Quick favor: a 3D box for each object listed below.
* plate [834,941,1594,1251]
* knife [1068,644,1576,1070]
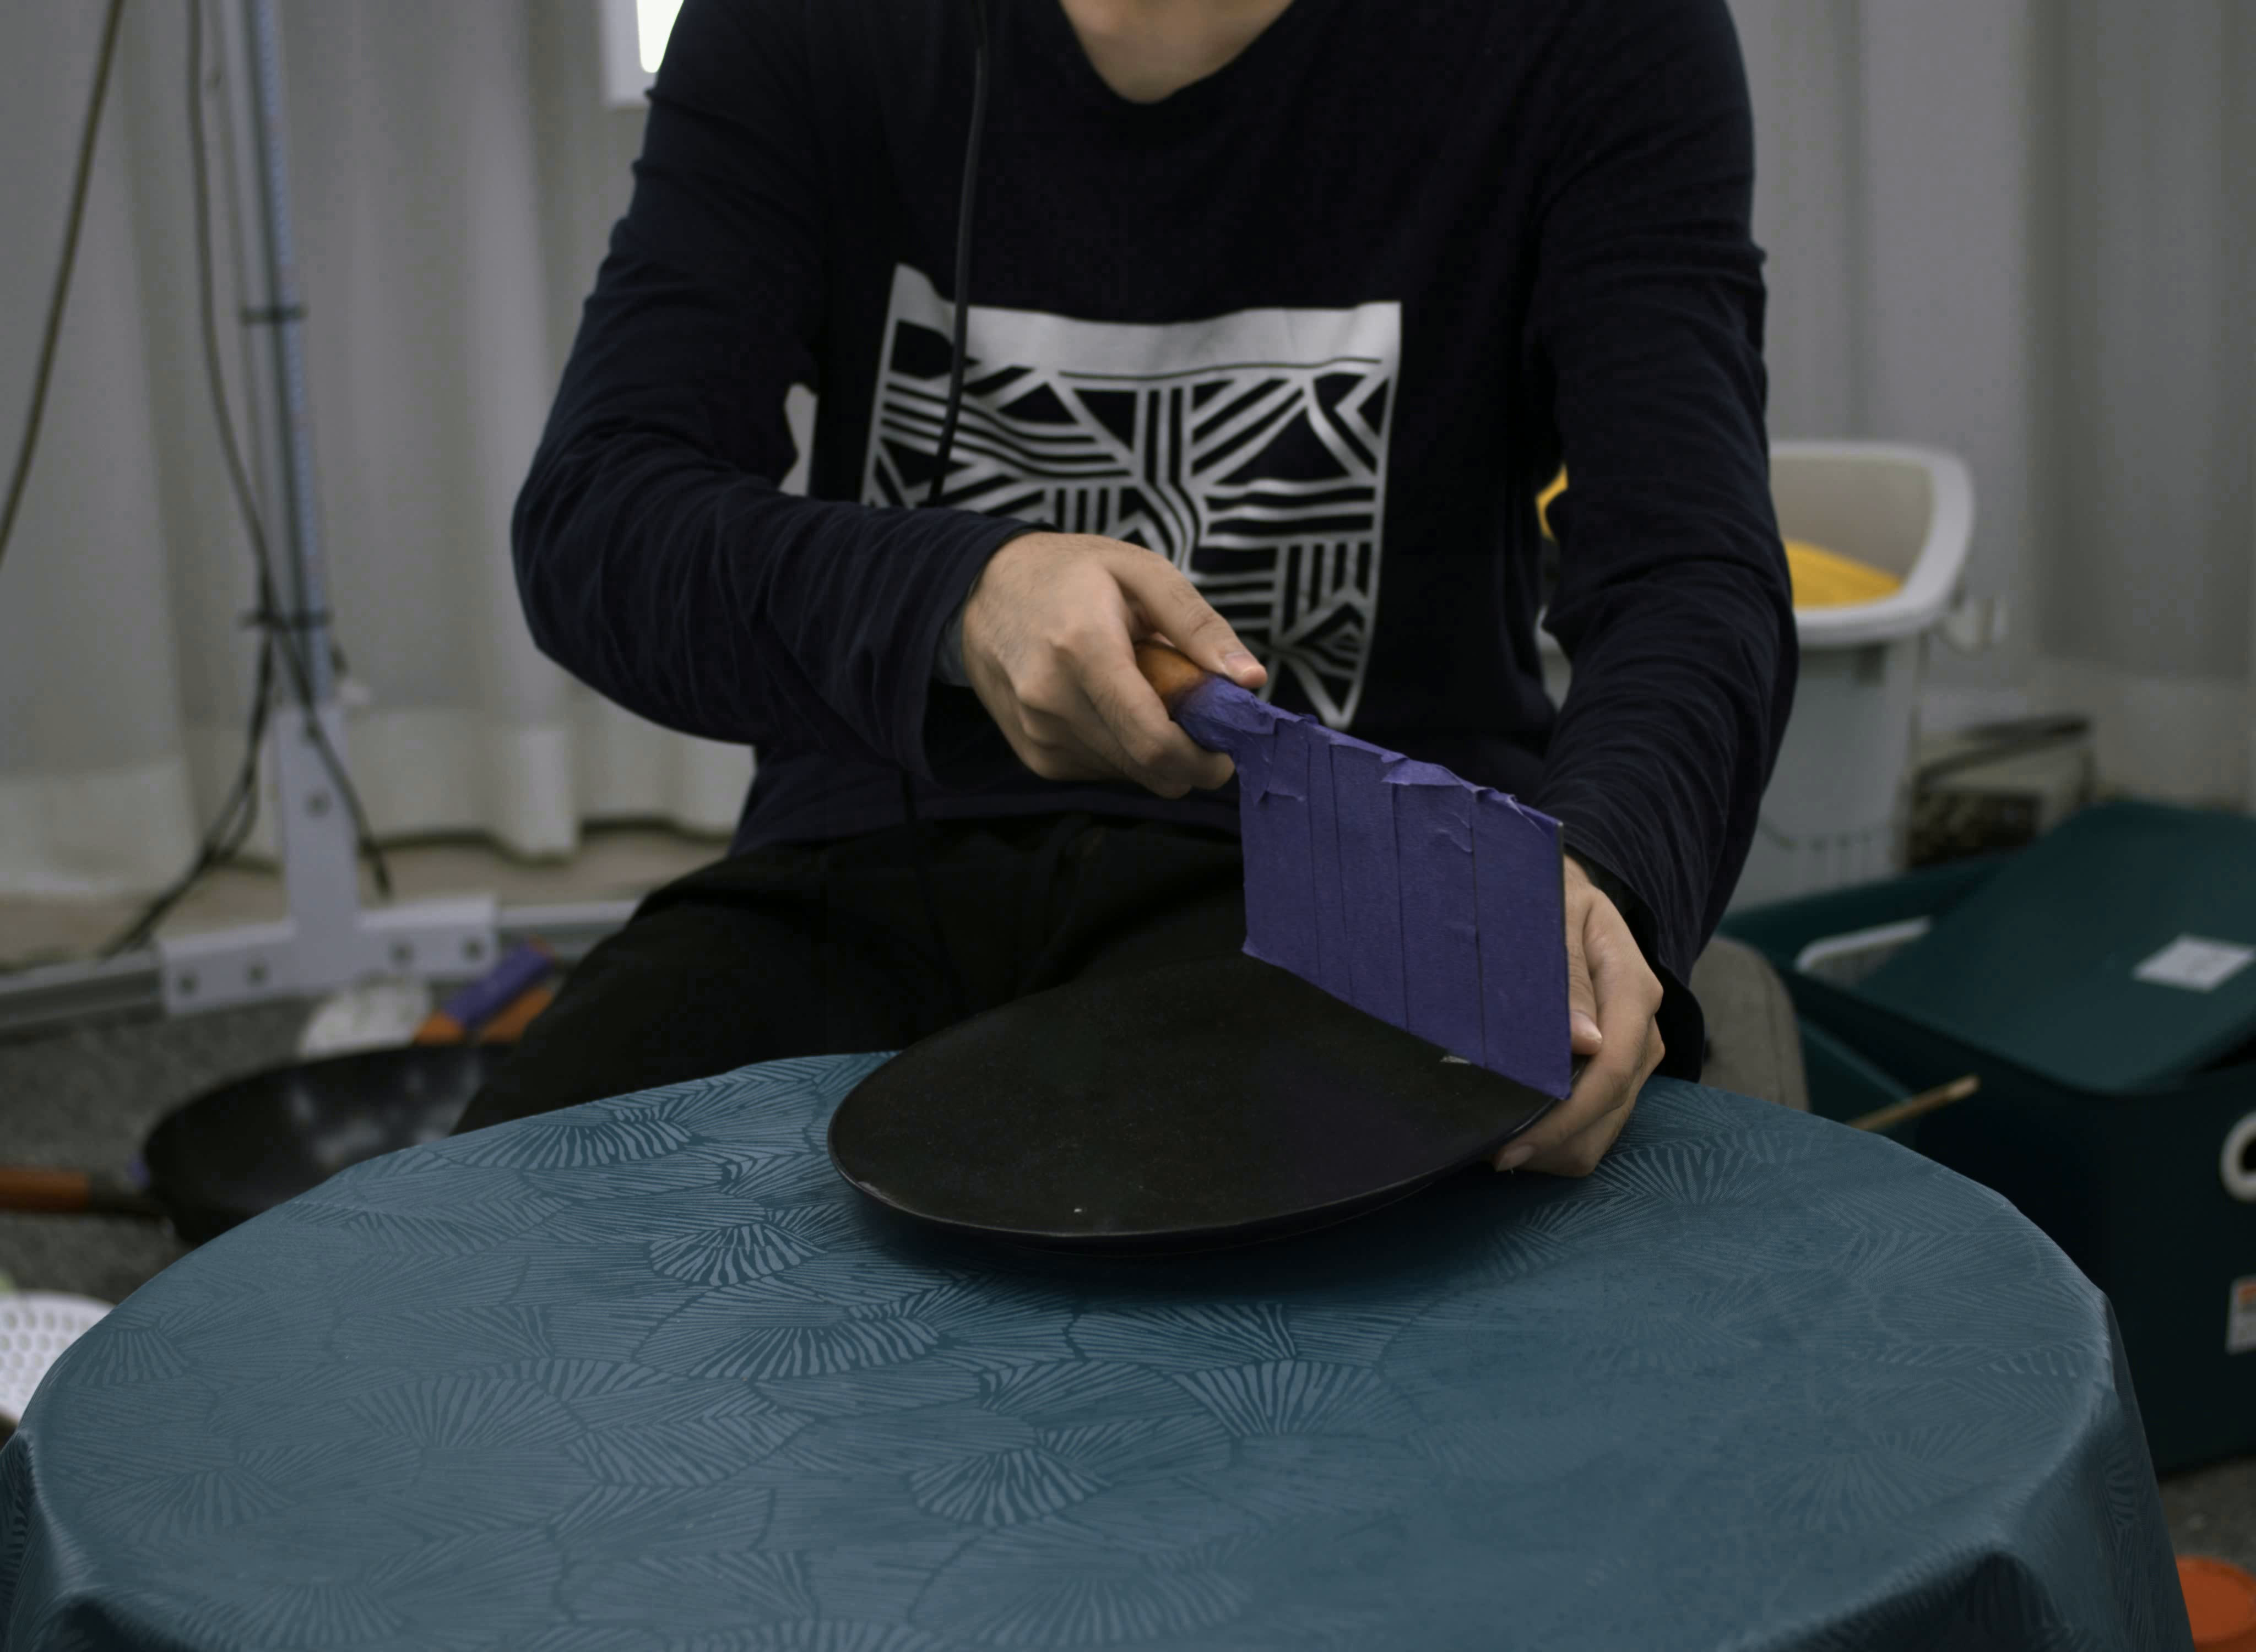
[{"bbox_3d":[0.027,0.087,1.725,0.243,0.023,0.246,-10,17,3],"label":"plate"},{"bbox_3d":[0.058,0.009,1.759,0.032,0.103,0.317,-8,14,-23],"label":"knife"}]
